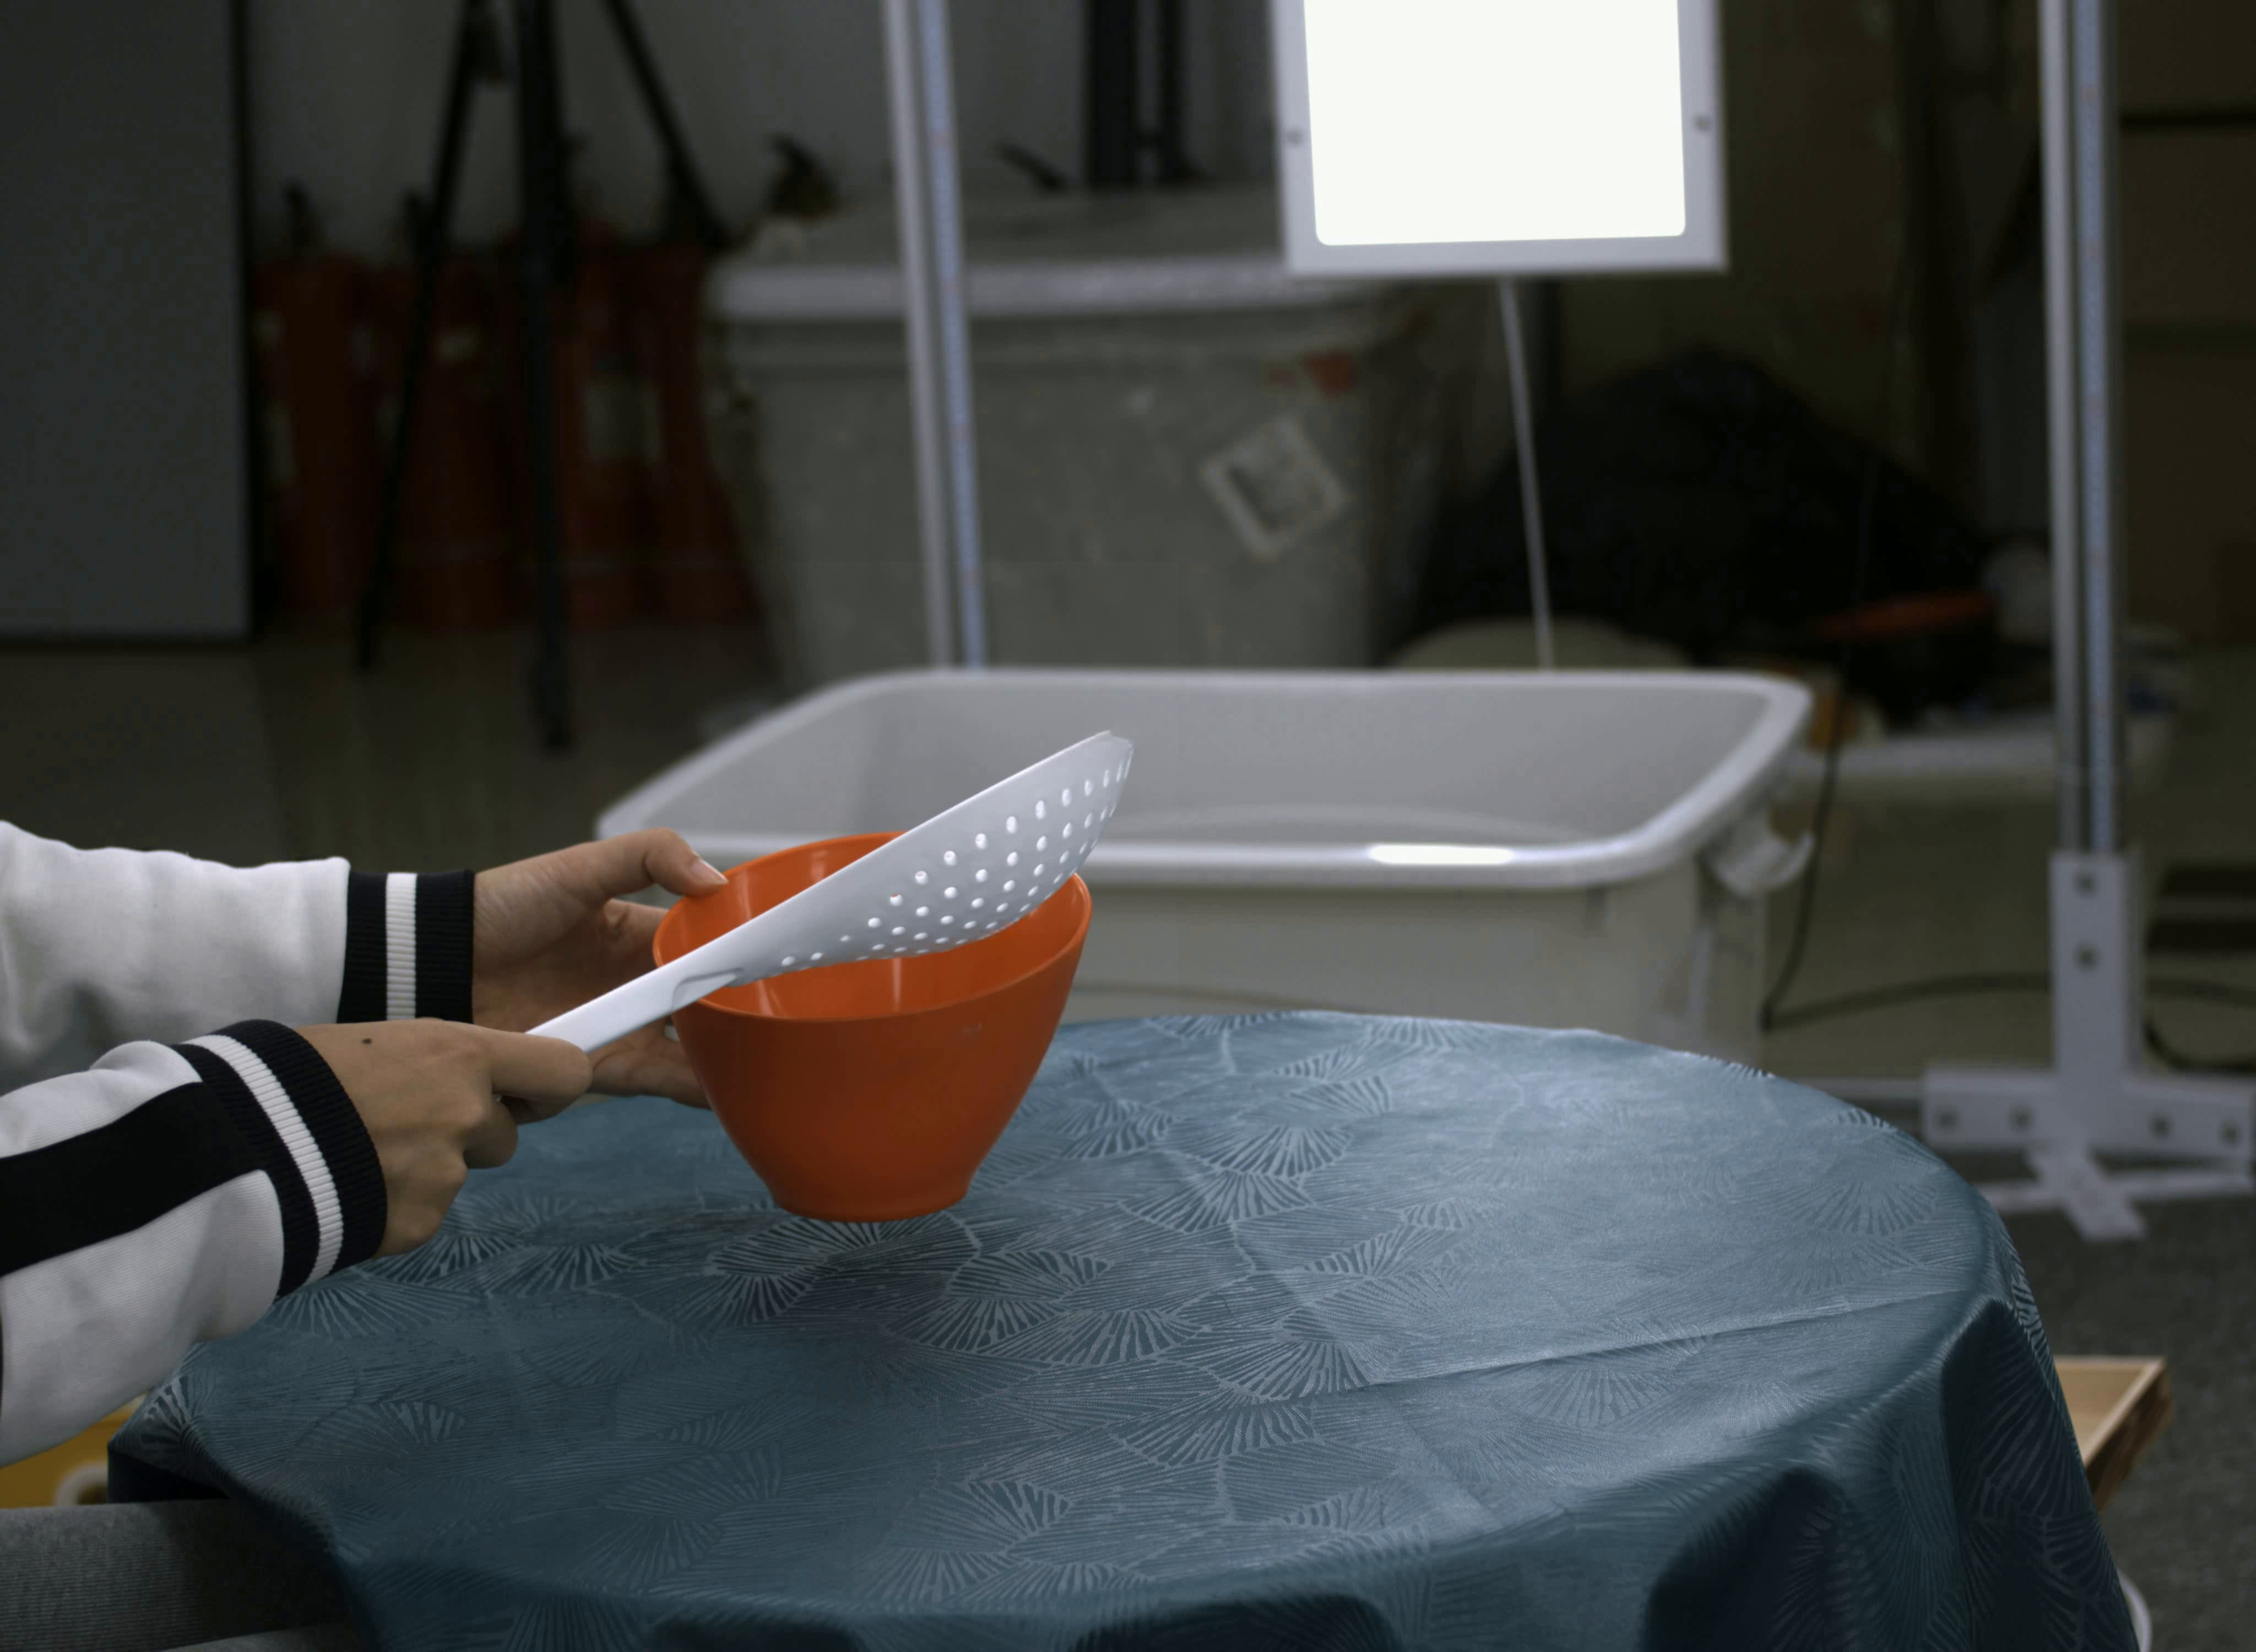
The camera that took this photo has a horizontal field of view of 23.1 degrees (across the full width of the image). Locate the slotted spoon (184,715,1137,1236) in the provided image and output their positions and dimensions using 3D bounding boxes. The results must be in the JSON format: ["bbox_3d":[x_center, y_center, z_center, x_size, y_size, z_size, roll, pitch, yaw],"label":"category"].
[{"bbox_3d":[-0.139,0.046,1.715,0.342,0.046,0.138,-21,-4,-26],"label":"slotted spoon"}]

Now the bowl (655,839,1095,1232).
[{"bbox_3d":[-0.084,0.074,1.851,0.147,0.105,0.148,-1,15,-1],"label":"bowl"}]
